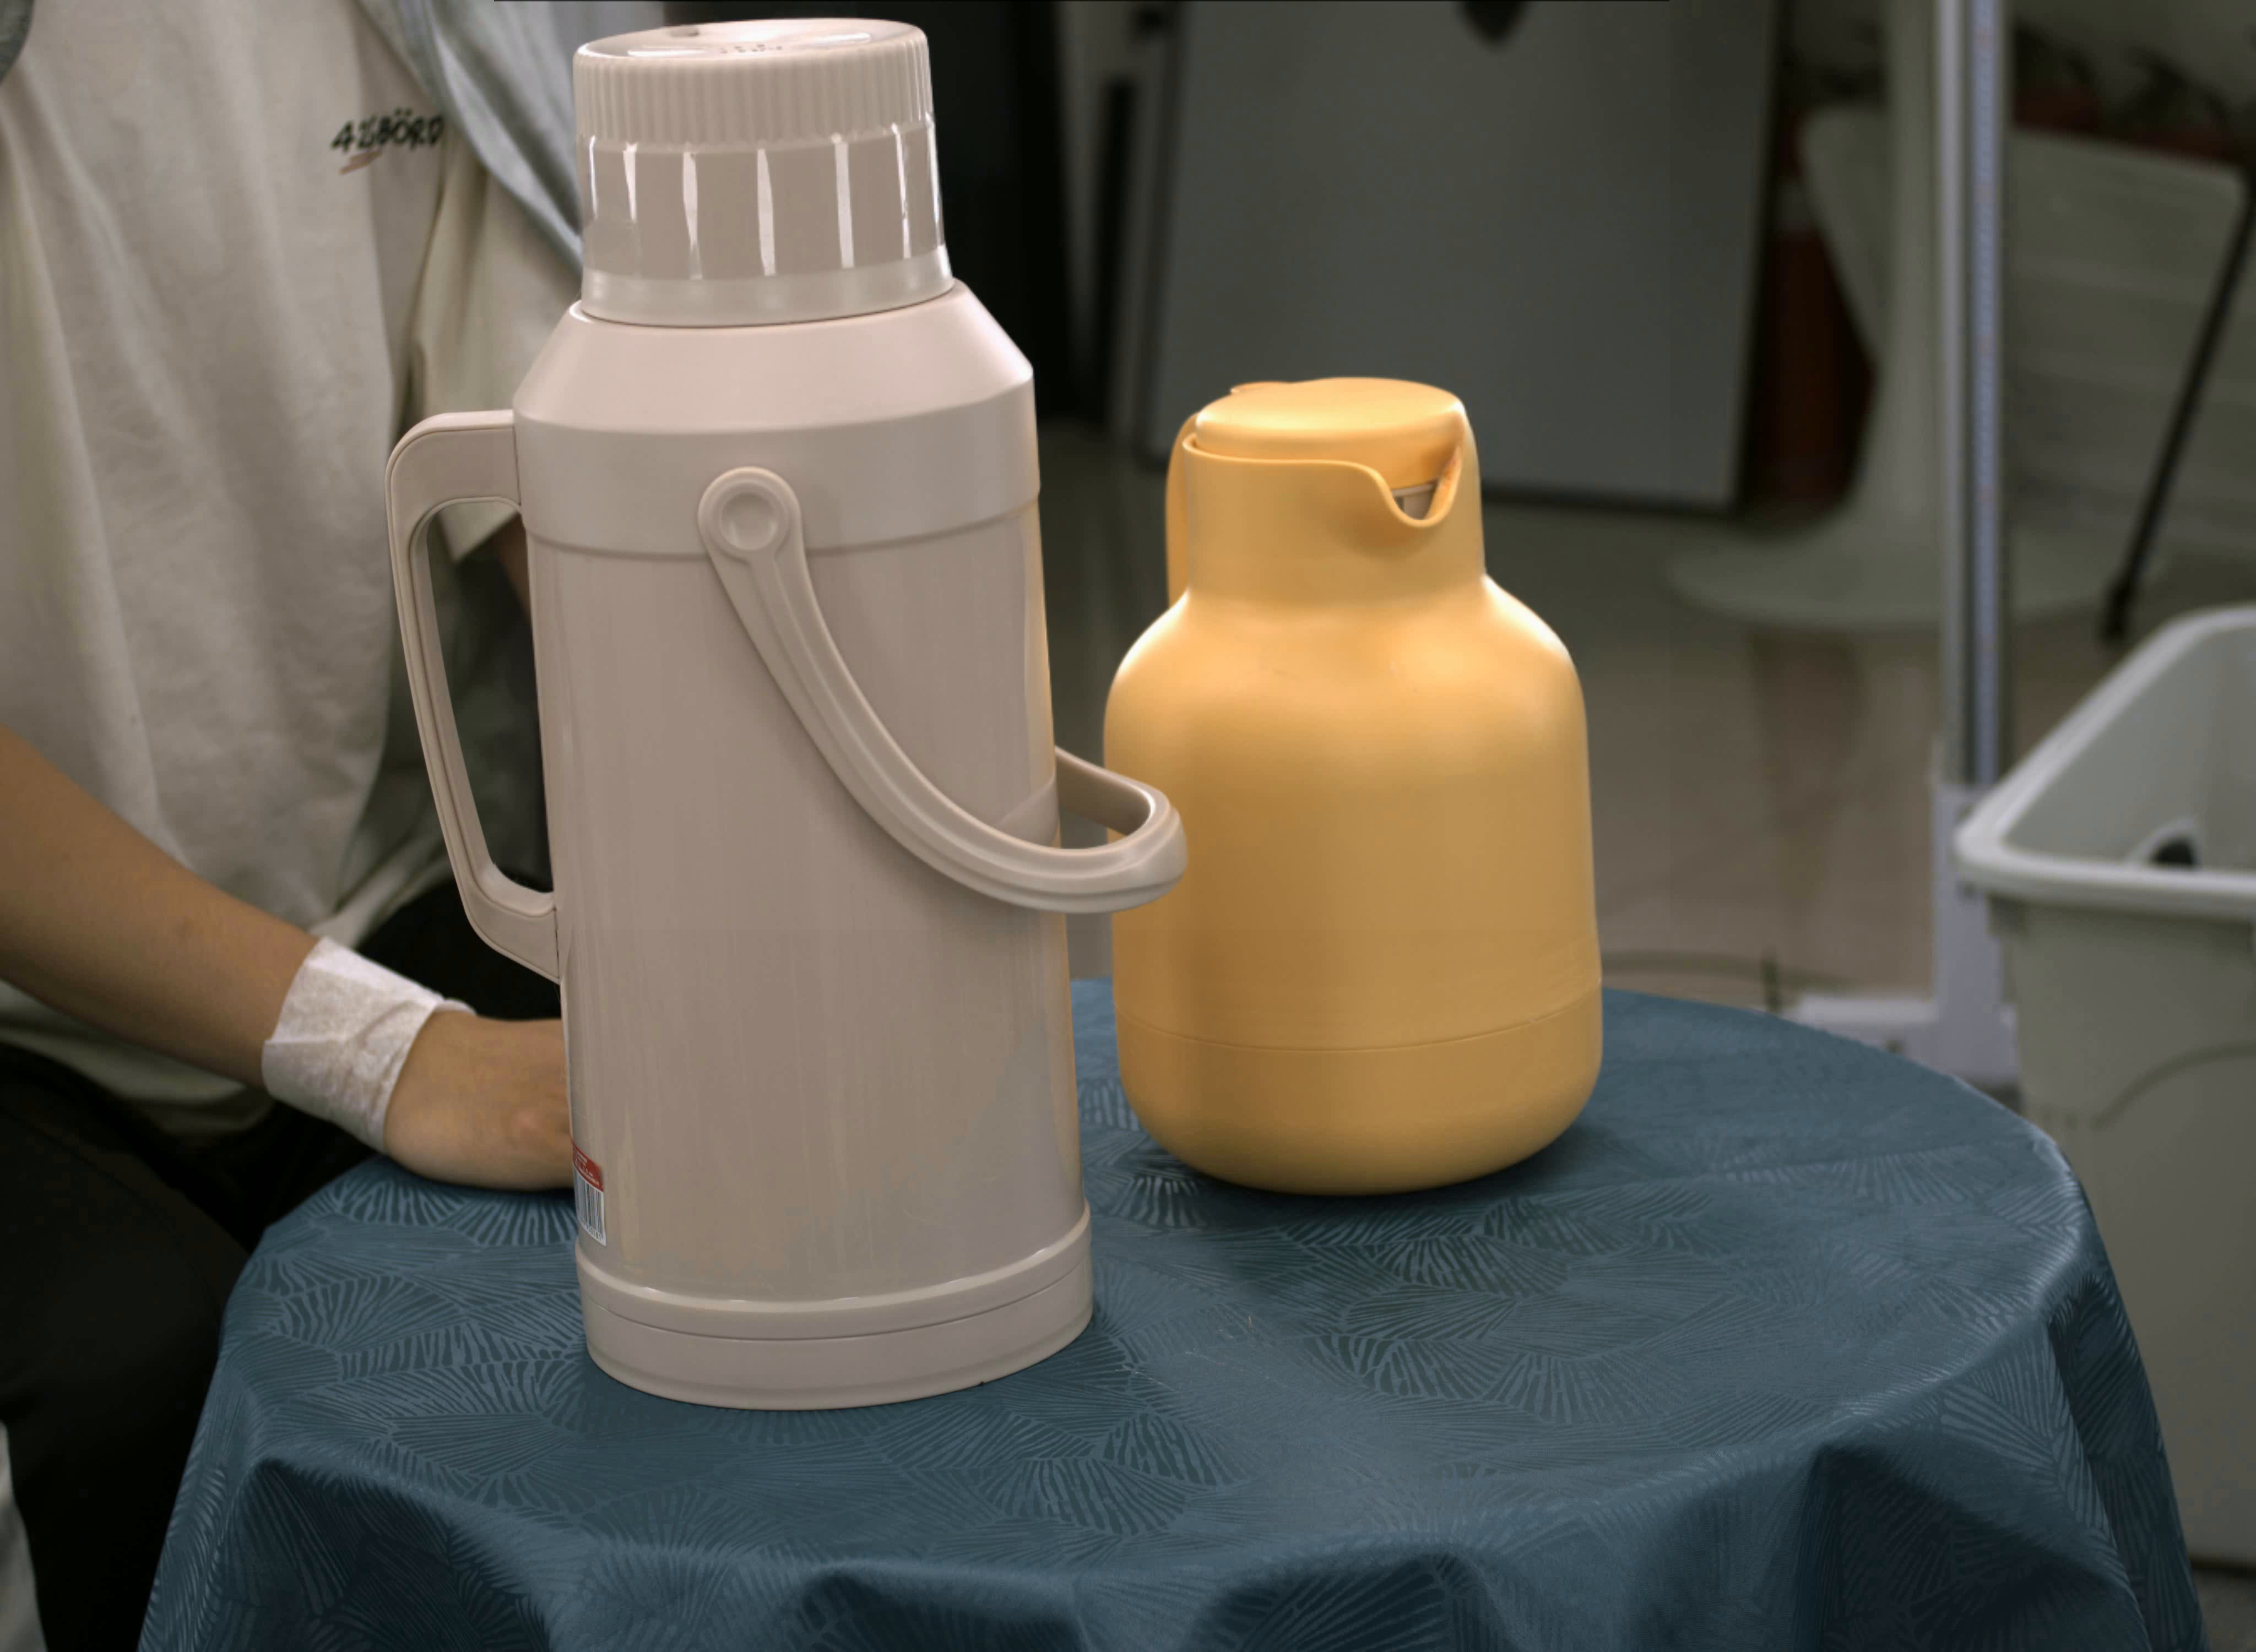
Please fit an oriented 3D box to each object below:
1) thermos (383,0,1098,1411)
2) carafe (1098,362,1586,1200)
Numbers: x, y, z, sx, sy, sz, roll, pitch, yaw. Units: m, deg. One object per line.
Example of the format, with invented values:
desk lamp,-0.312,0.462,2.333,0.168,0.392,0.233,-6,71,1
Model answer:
thermos,-0.114,-0.039,1.622,0.205,0.411,0.175,-2,14,4
carafe,0.064,-0.023,1.791,0.160,0.263,0.204,-5,15,-18
